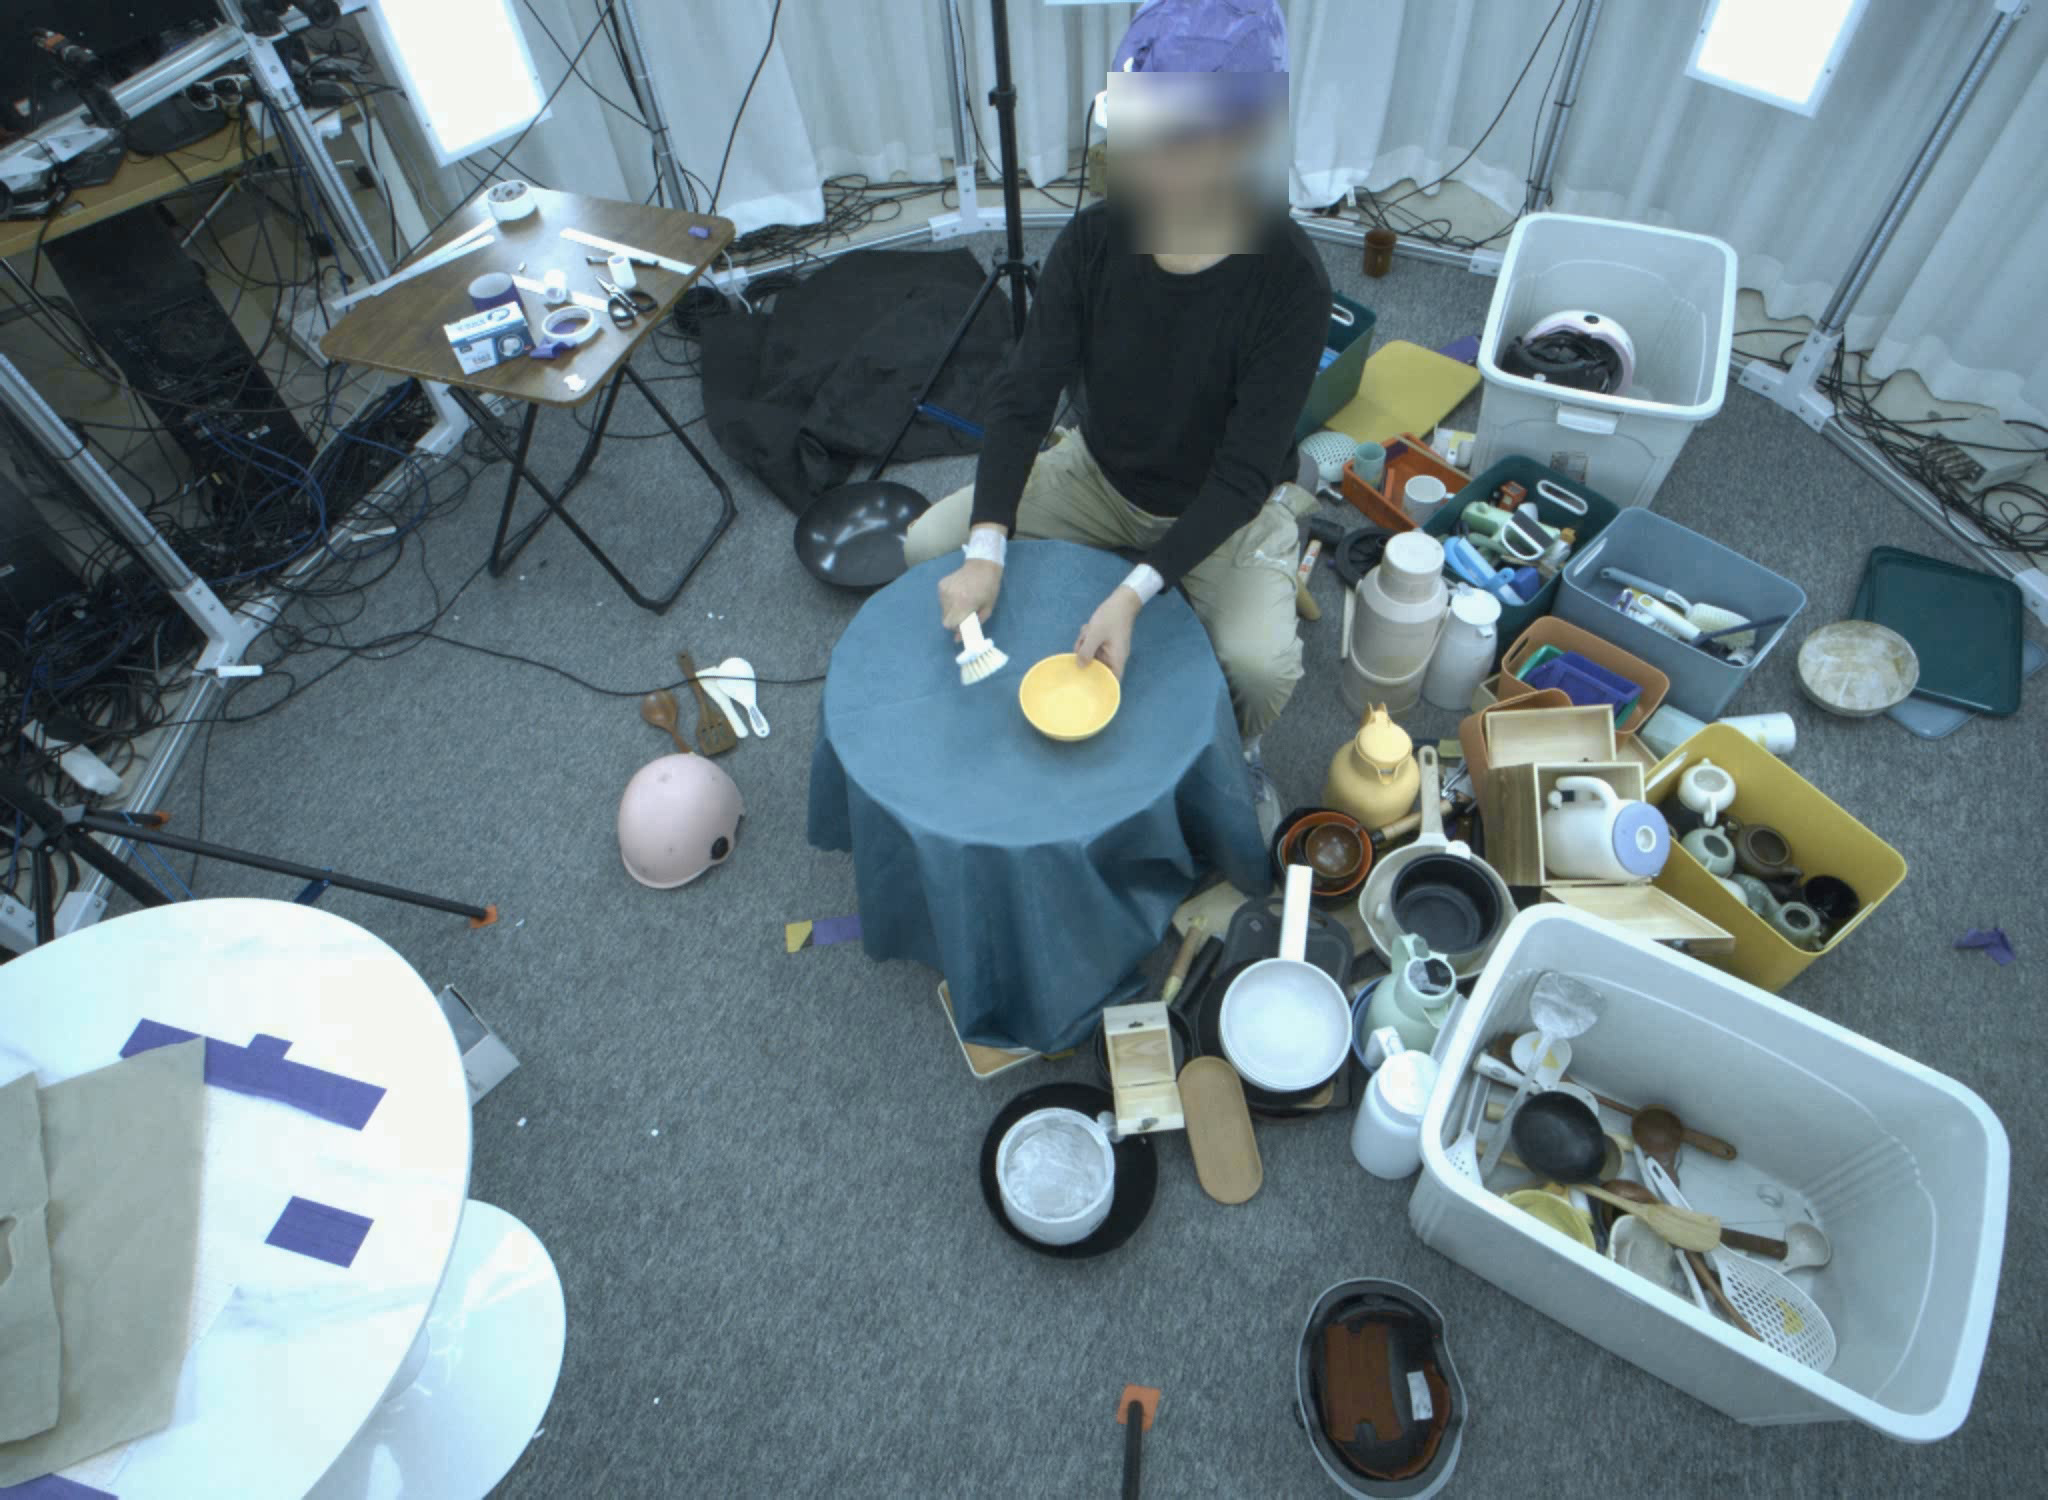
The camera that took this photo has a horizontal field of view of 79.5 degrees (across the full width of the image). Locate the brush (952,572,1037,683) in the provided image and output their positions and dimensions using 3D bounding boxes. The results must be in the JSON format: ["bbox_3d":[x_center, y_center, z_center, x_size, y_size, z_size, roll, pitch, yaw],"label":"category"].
[{"bbox_3d":[-0.051,-0.184,1.840,0.069,0.057,0.261,-25,42,-6],"label":"brush"}]

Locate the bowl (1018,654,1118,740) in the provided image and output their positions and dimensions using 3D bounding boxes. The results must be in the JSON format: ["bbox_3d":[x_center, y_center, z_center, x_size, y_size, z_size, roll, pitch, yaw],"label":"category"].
[{"bbox_3d":[0.063,-0.065,1.794,0.145,0.060,0.144,1,57,0],"label":"bowl"}]
